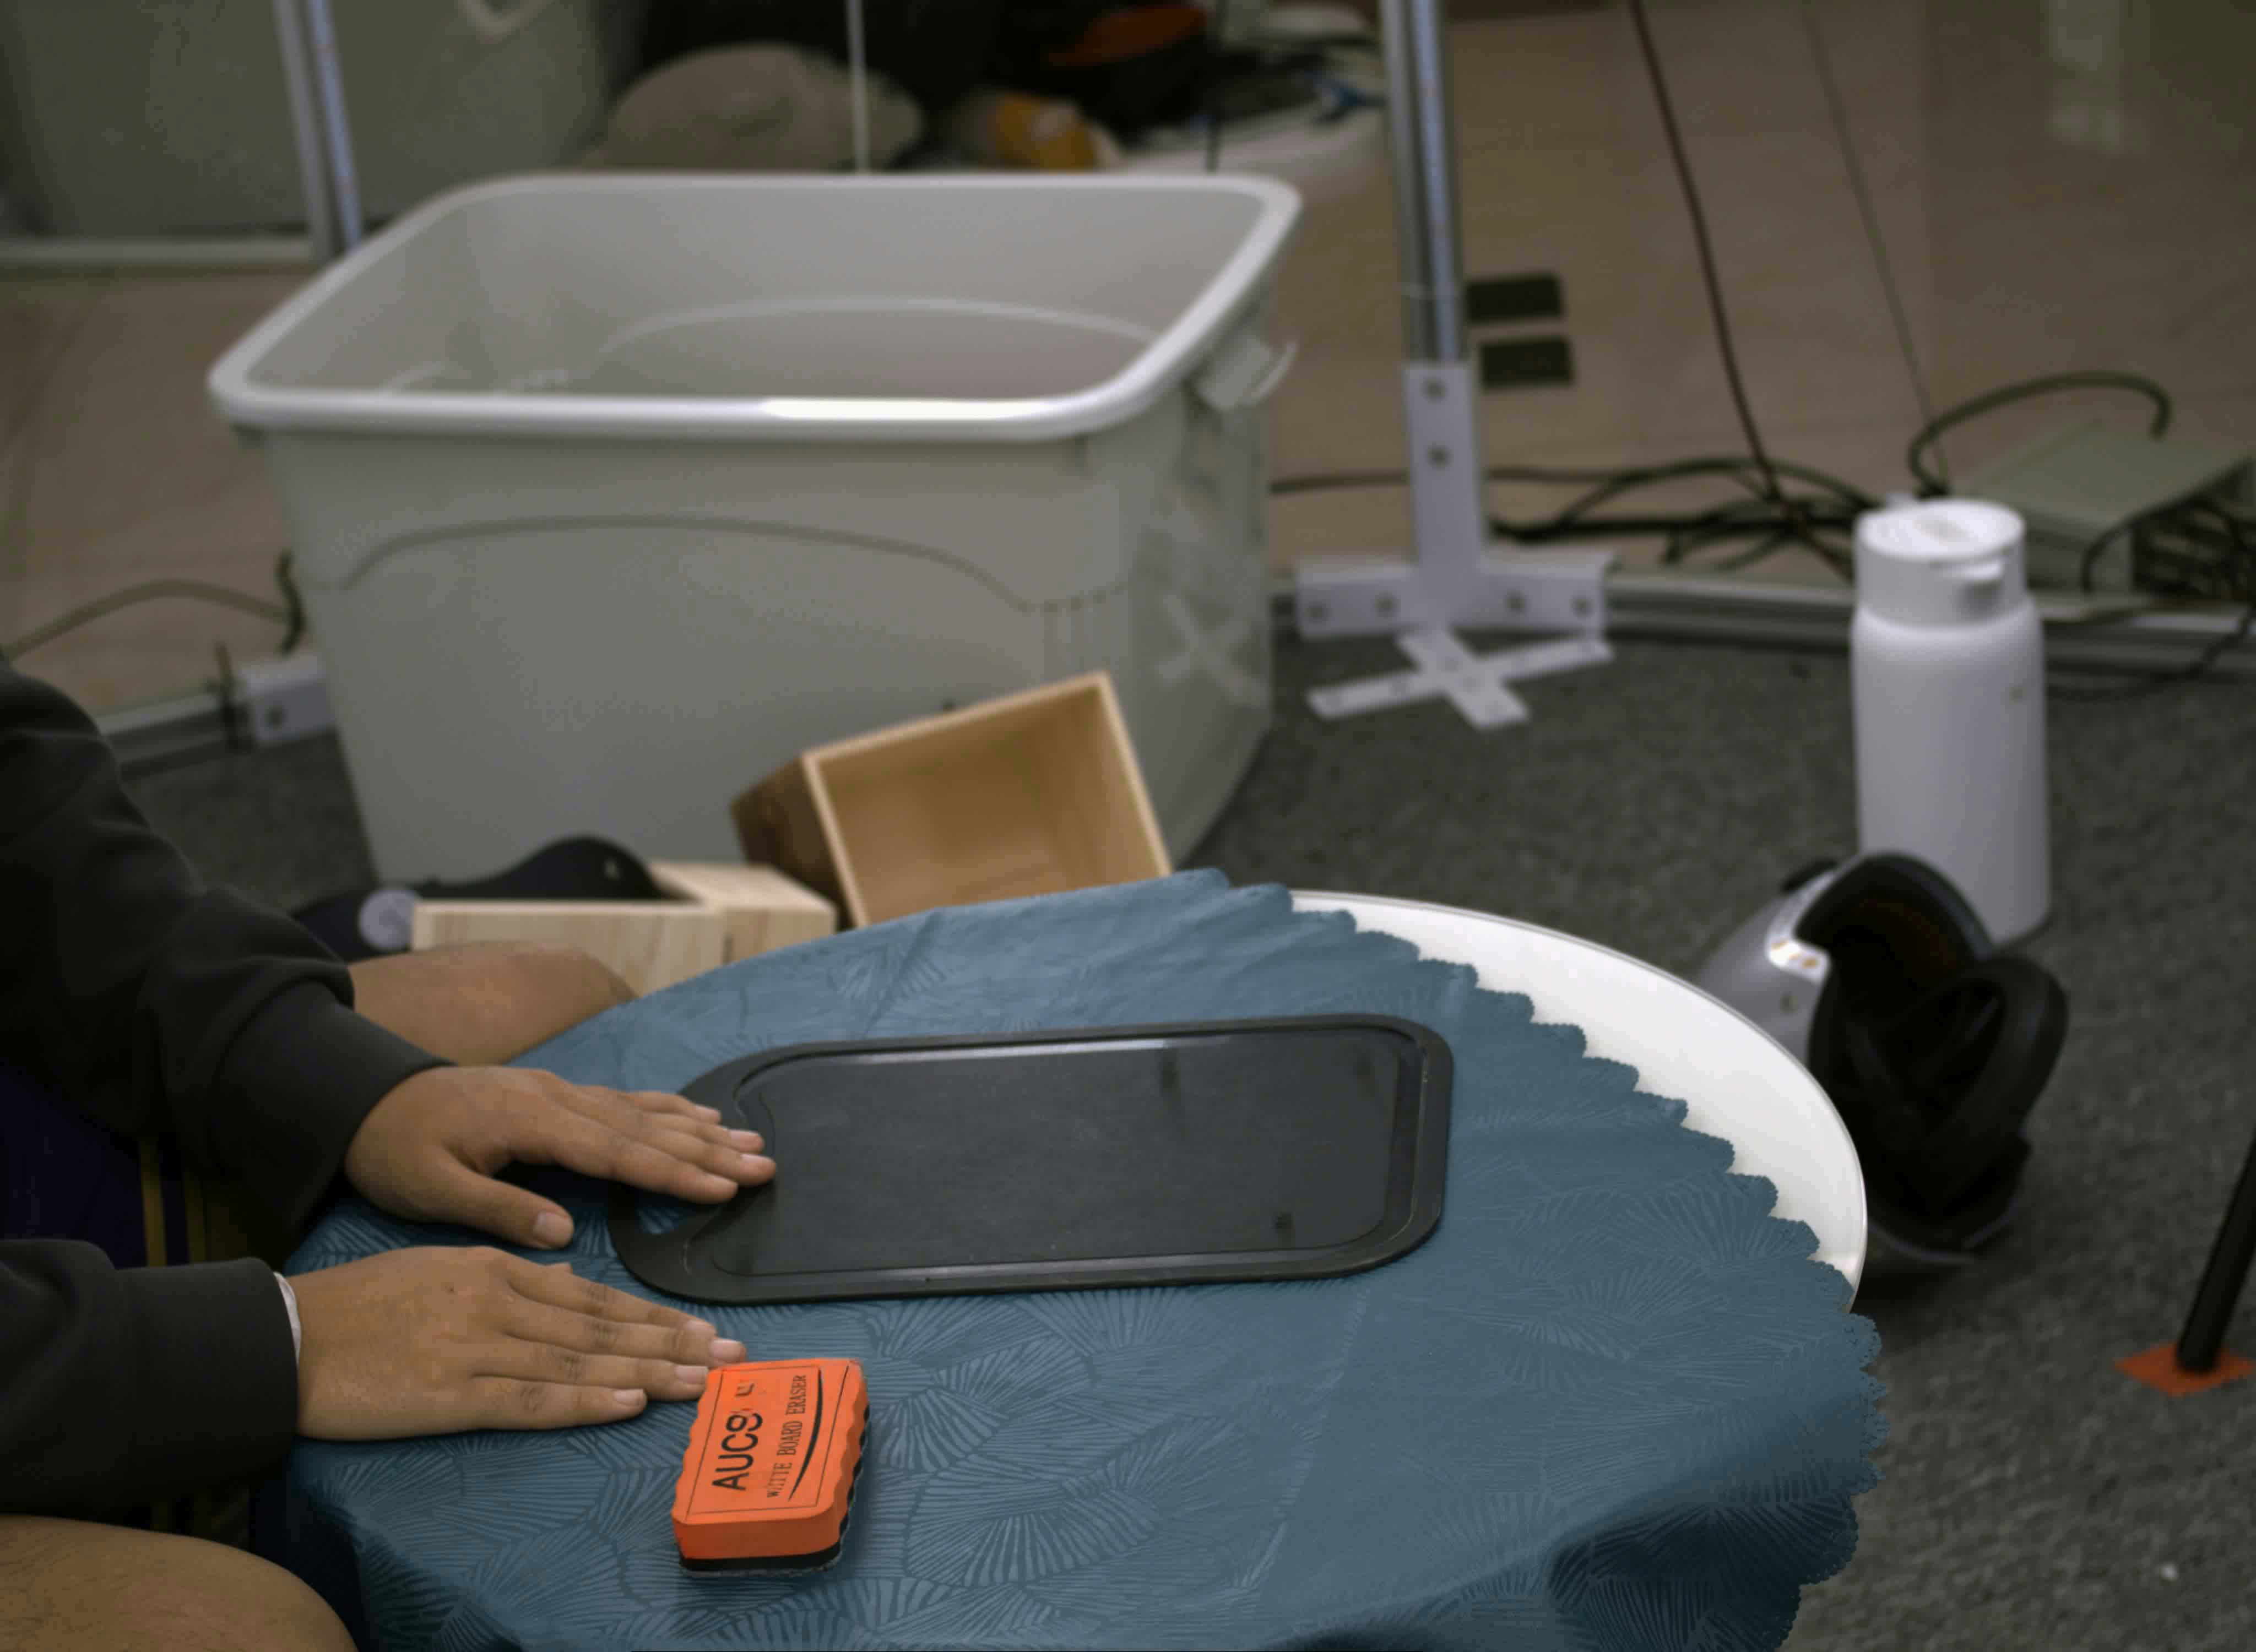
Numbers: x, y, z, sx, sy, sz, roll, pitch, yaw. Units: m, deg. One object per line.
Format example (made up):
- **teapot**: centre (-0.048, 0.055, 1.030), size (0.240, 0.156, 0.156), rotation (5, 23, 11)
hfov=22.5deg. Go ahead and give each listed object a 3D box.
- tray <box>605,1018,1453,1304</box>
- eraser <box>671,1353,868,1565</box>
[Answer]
- **tray**: centre (-0.039, 0.126, 2.177), size (0.325, 0.010, 0.208), rotation (-3, 25, 8)
- **eraser**: centre (-0.123, 0.219, 1.971), size (0.059, 0.023, 0.106), rotation (-3, 23, 5)
